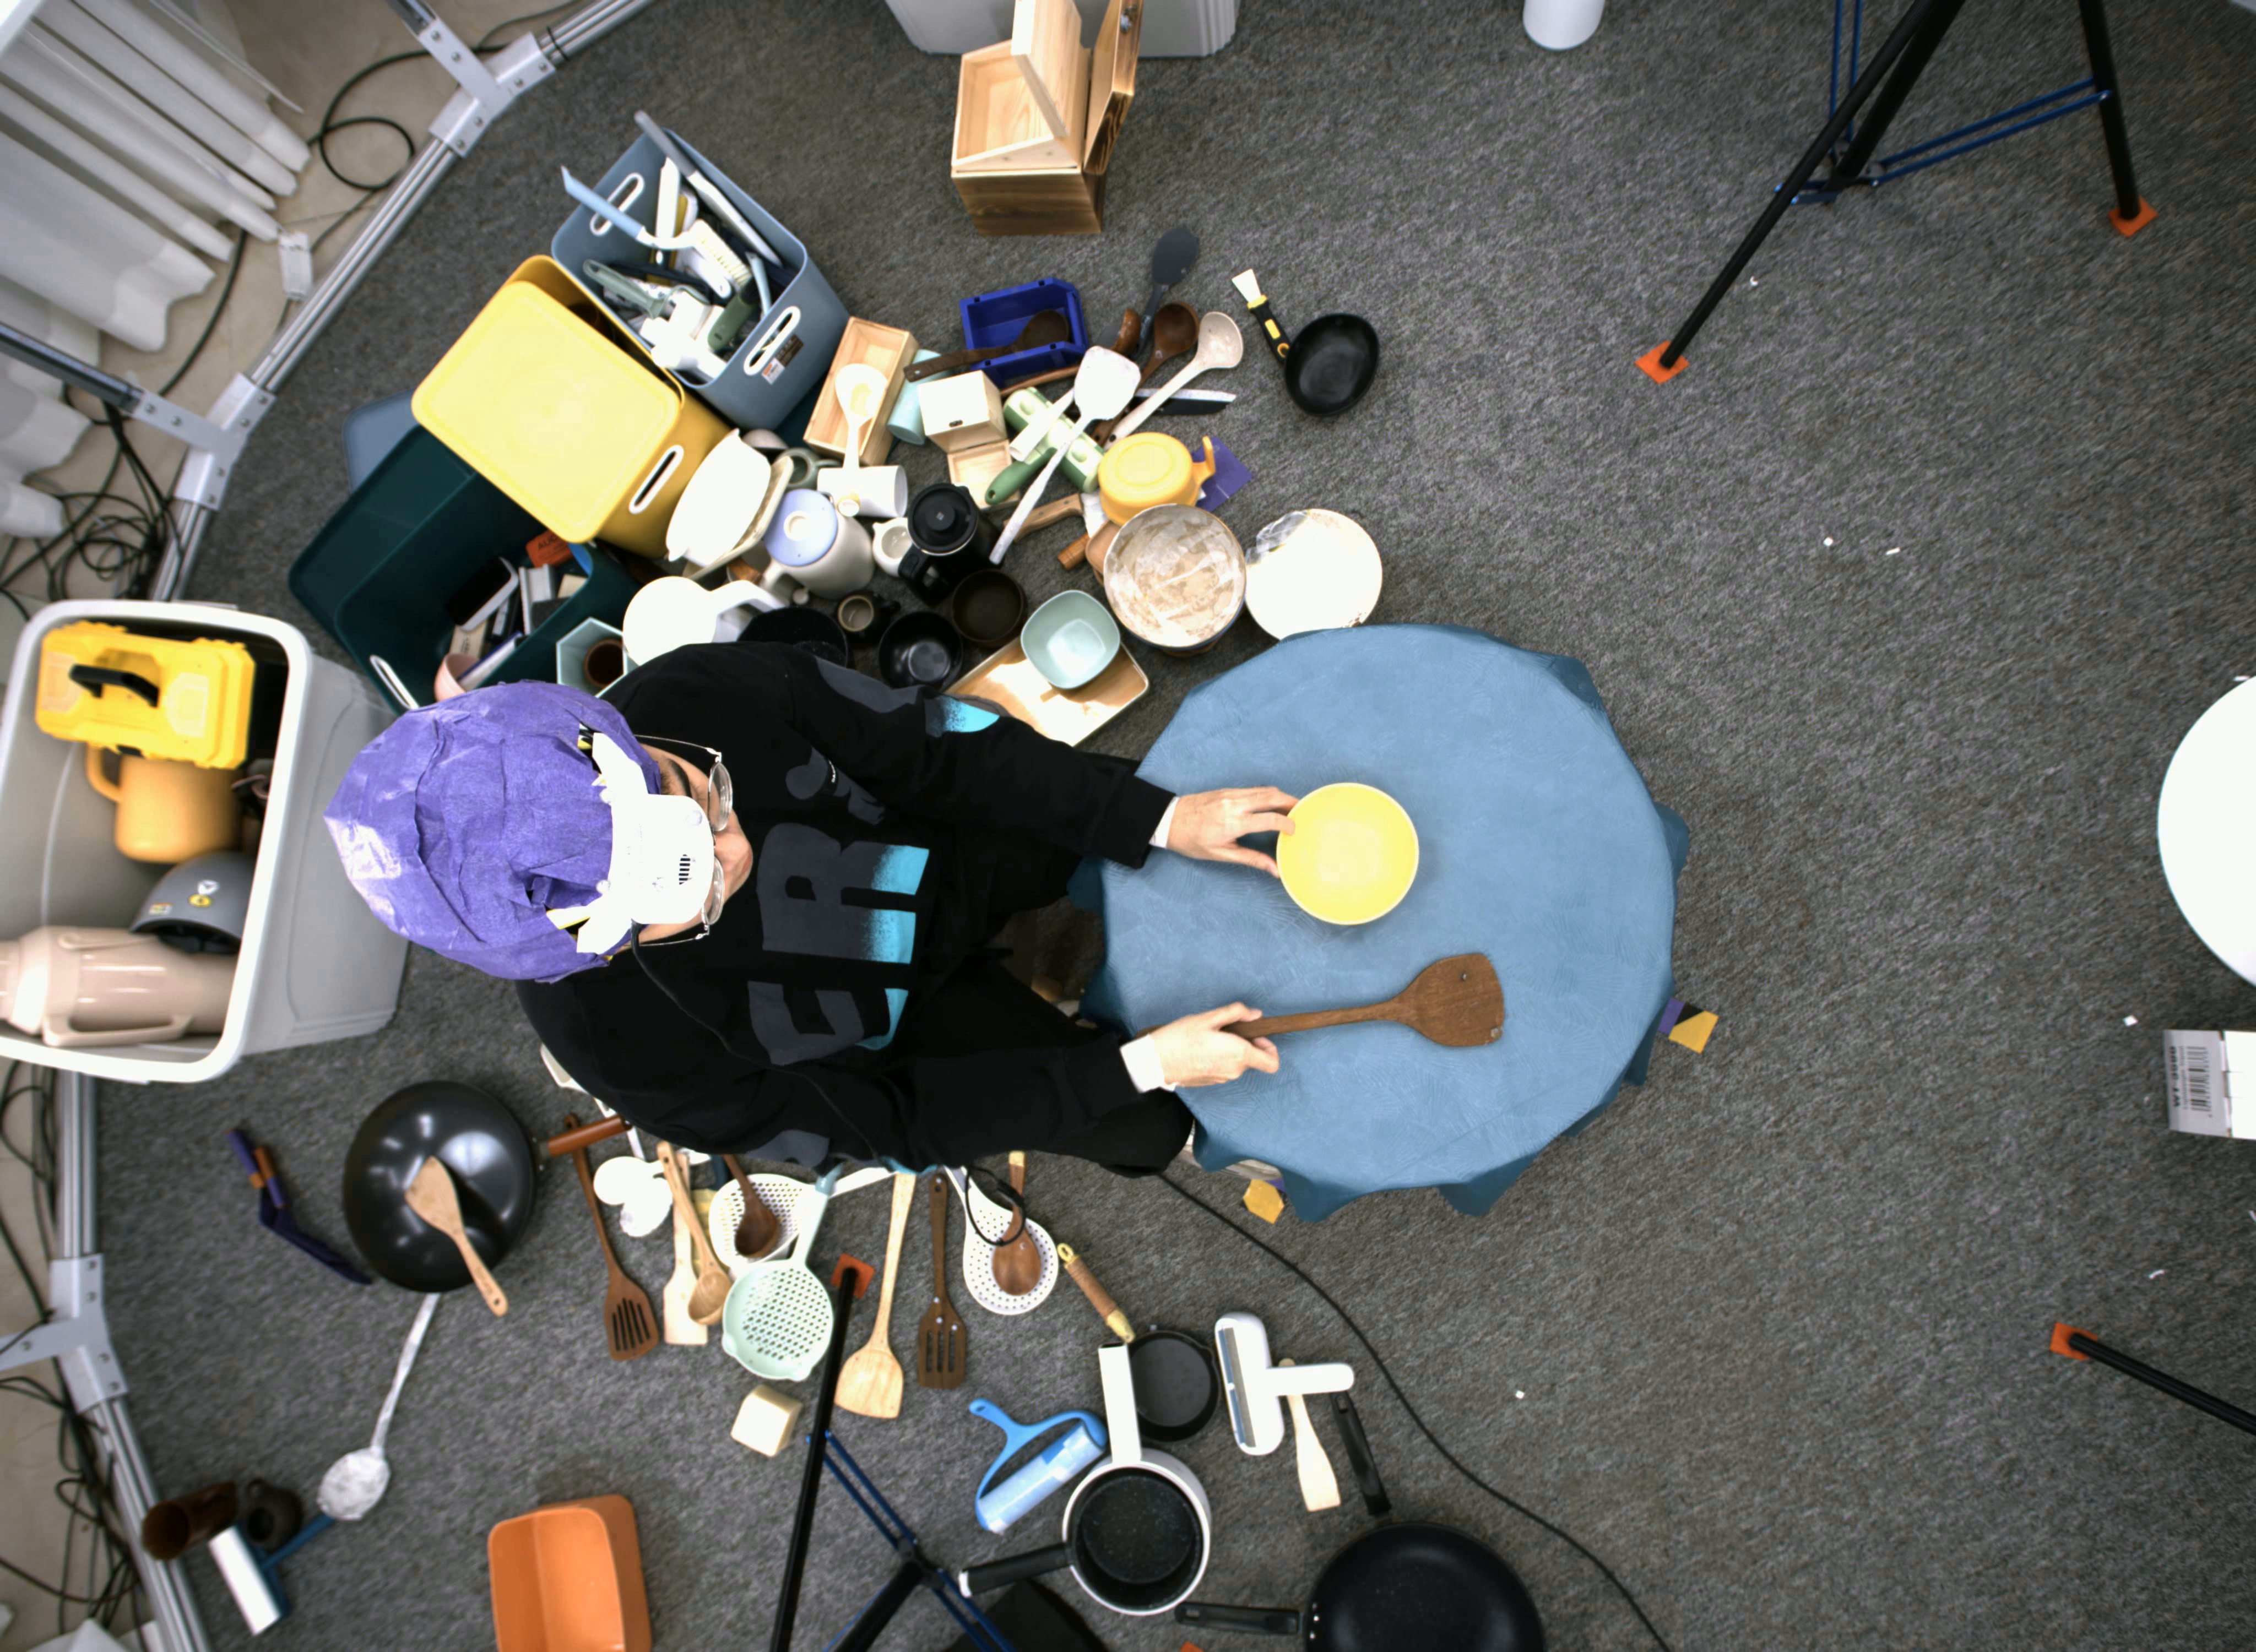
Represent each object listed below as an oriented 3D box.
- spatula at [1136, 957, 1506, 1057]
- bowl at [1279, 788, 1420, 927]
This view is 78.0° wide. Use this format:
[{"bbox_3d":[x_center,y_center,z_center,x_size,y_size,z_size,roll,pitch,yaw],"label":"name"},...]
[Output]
[{"bbox_3d":[0.200,0.202,1.438,0.386,0.016,0.095,-7,82,1],"label":"spatula"},{"bbox_3d":[0.232,0.034,1.446,0.146,0.060,0.144,-1,84,10],"label":"bowl"}]
